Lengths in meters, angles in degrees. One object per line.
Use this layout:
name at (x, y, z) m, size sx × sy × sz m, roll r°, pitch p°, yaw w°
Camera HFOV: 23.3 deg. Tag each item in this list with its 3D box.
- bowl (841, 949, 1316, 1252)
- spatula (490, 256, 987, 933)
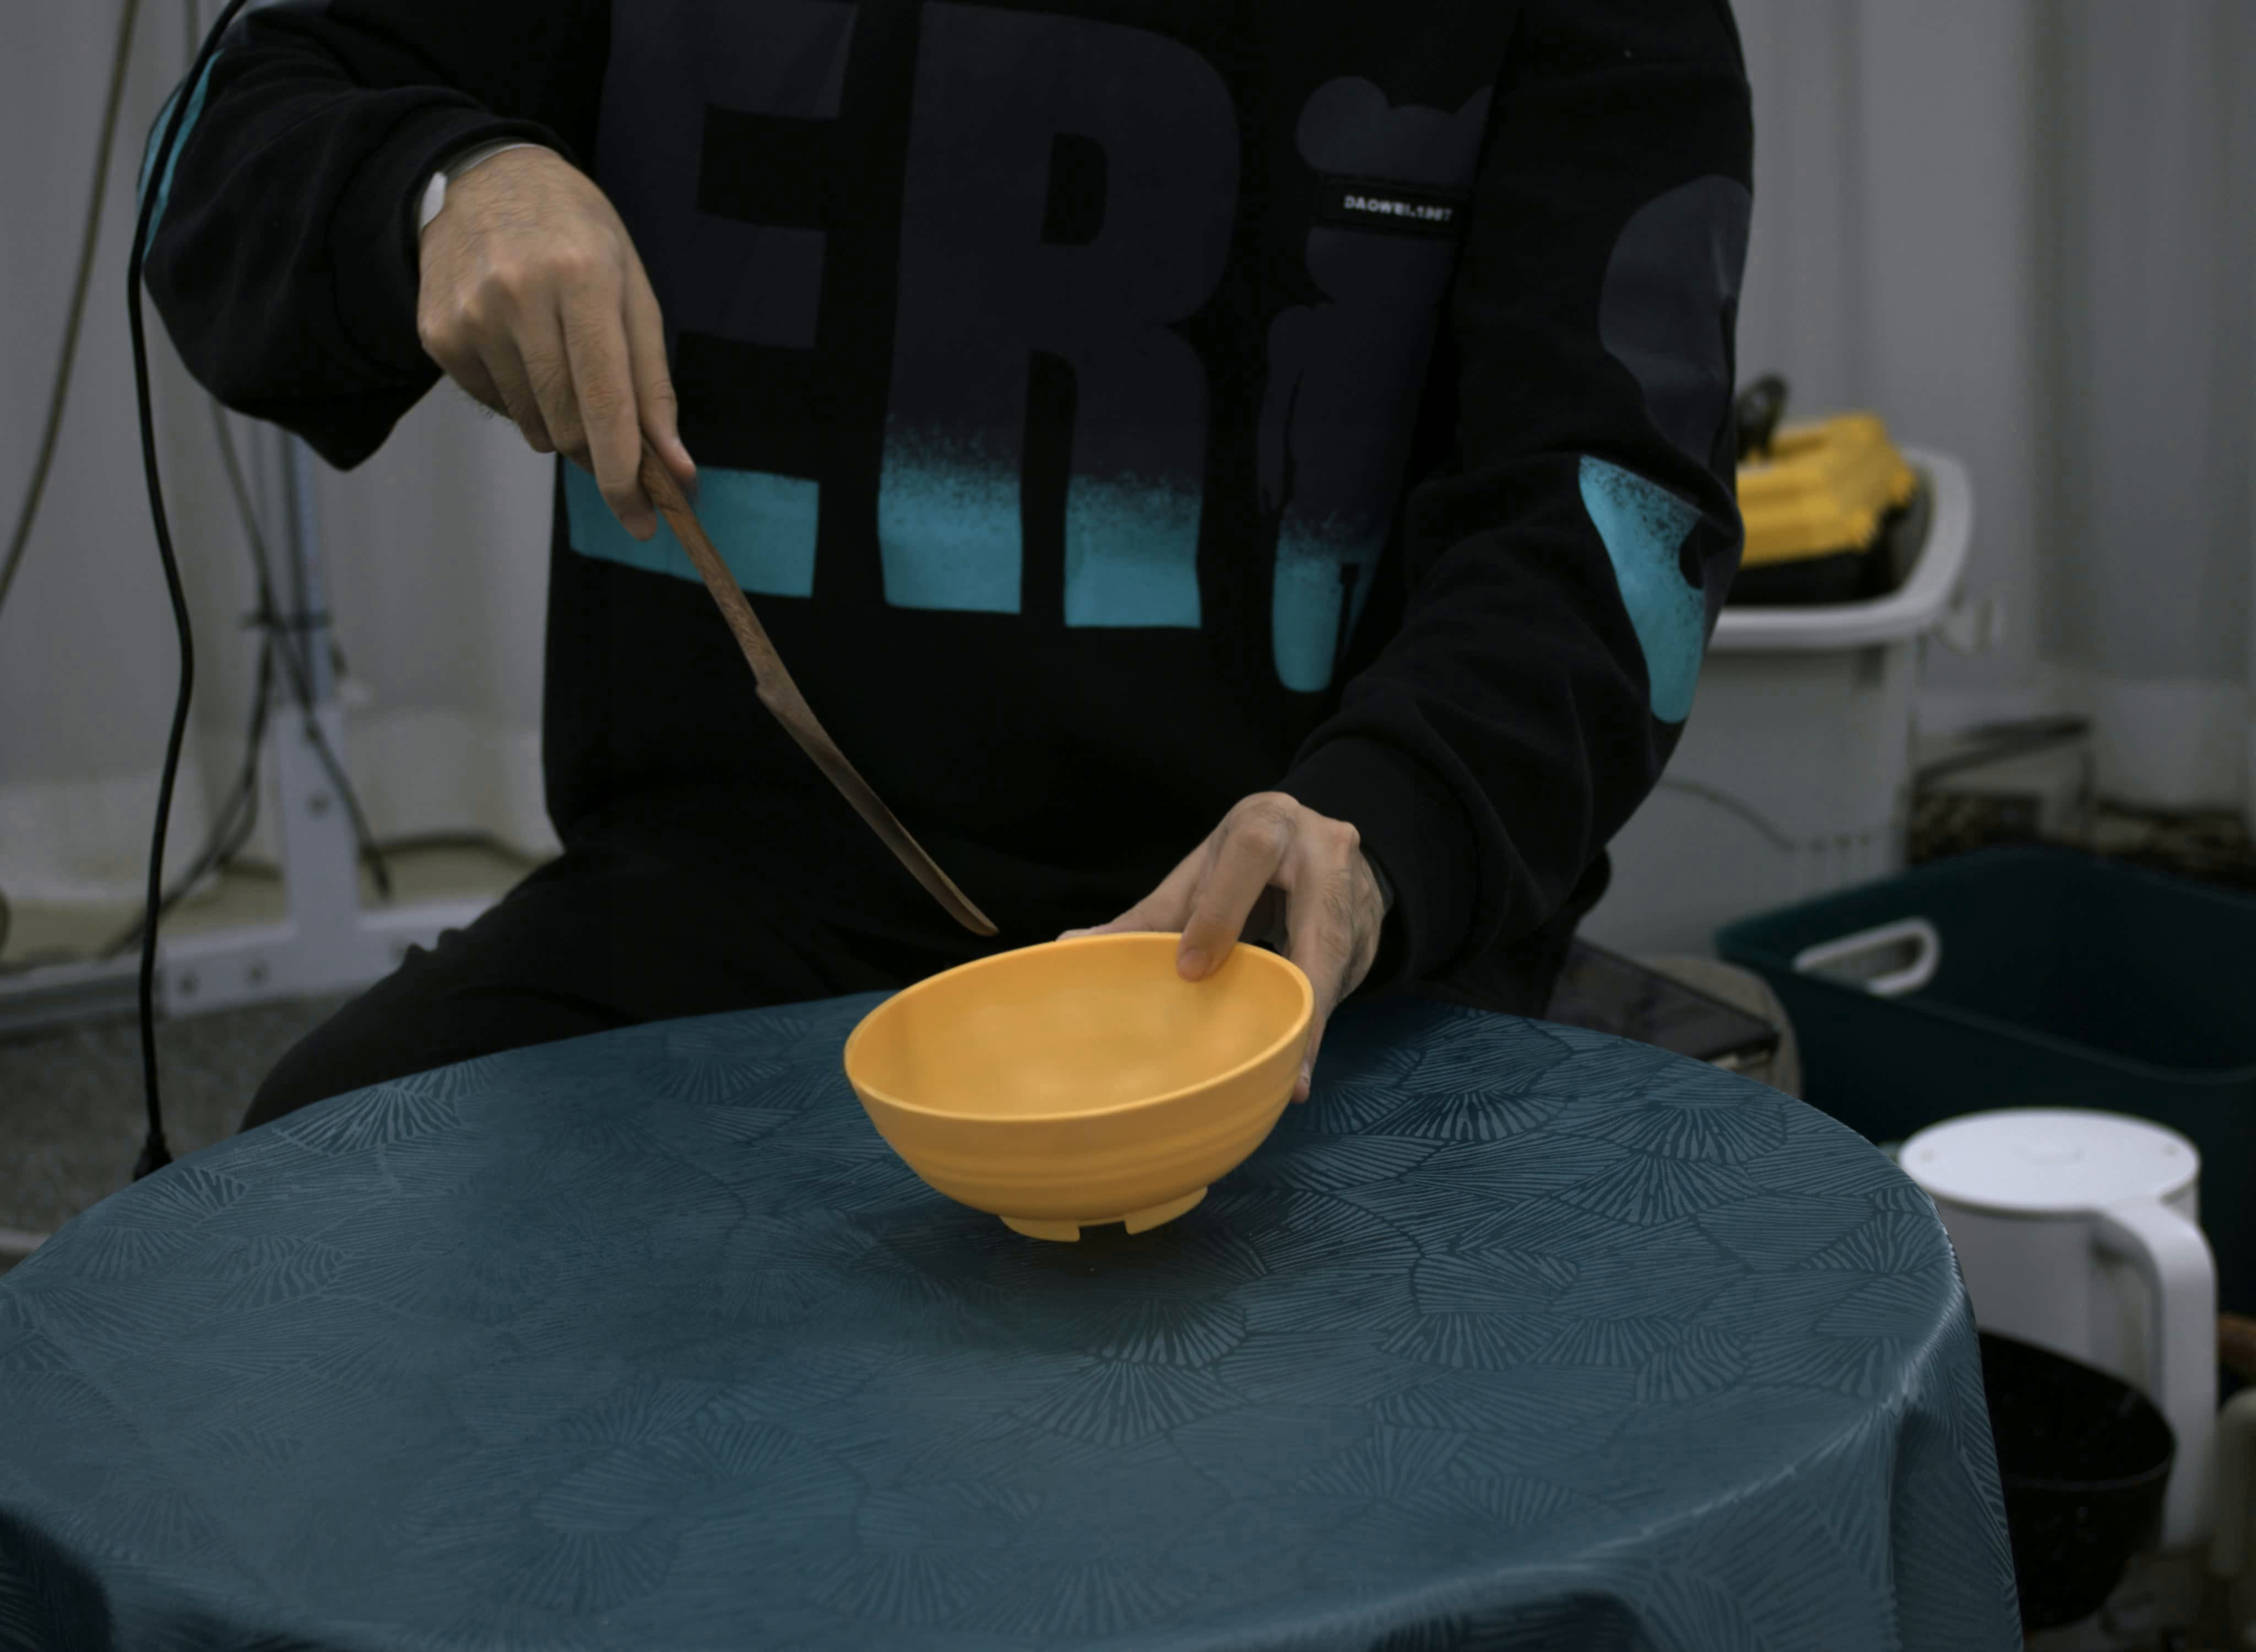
bowl at (-0.013, 0.090, 1.666) m, size 0.145 × 0.060 × 0.146 m, roll -5°, pitch 18°, yaw 1°
spatula at (-0.138, -0.089, 1.755) m, size 0.016 × 0.095 × 0.391 m, roll -38°, pitch 41°, yaw 2°
